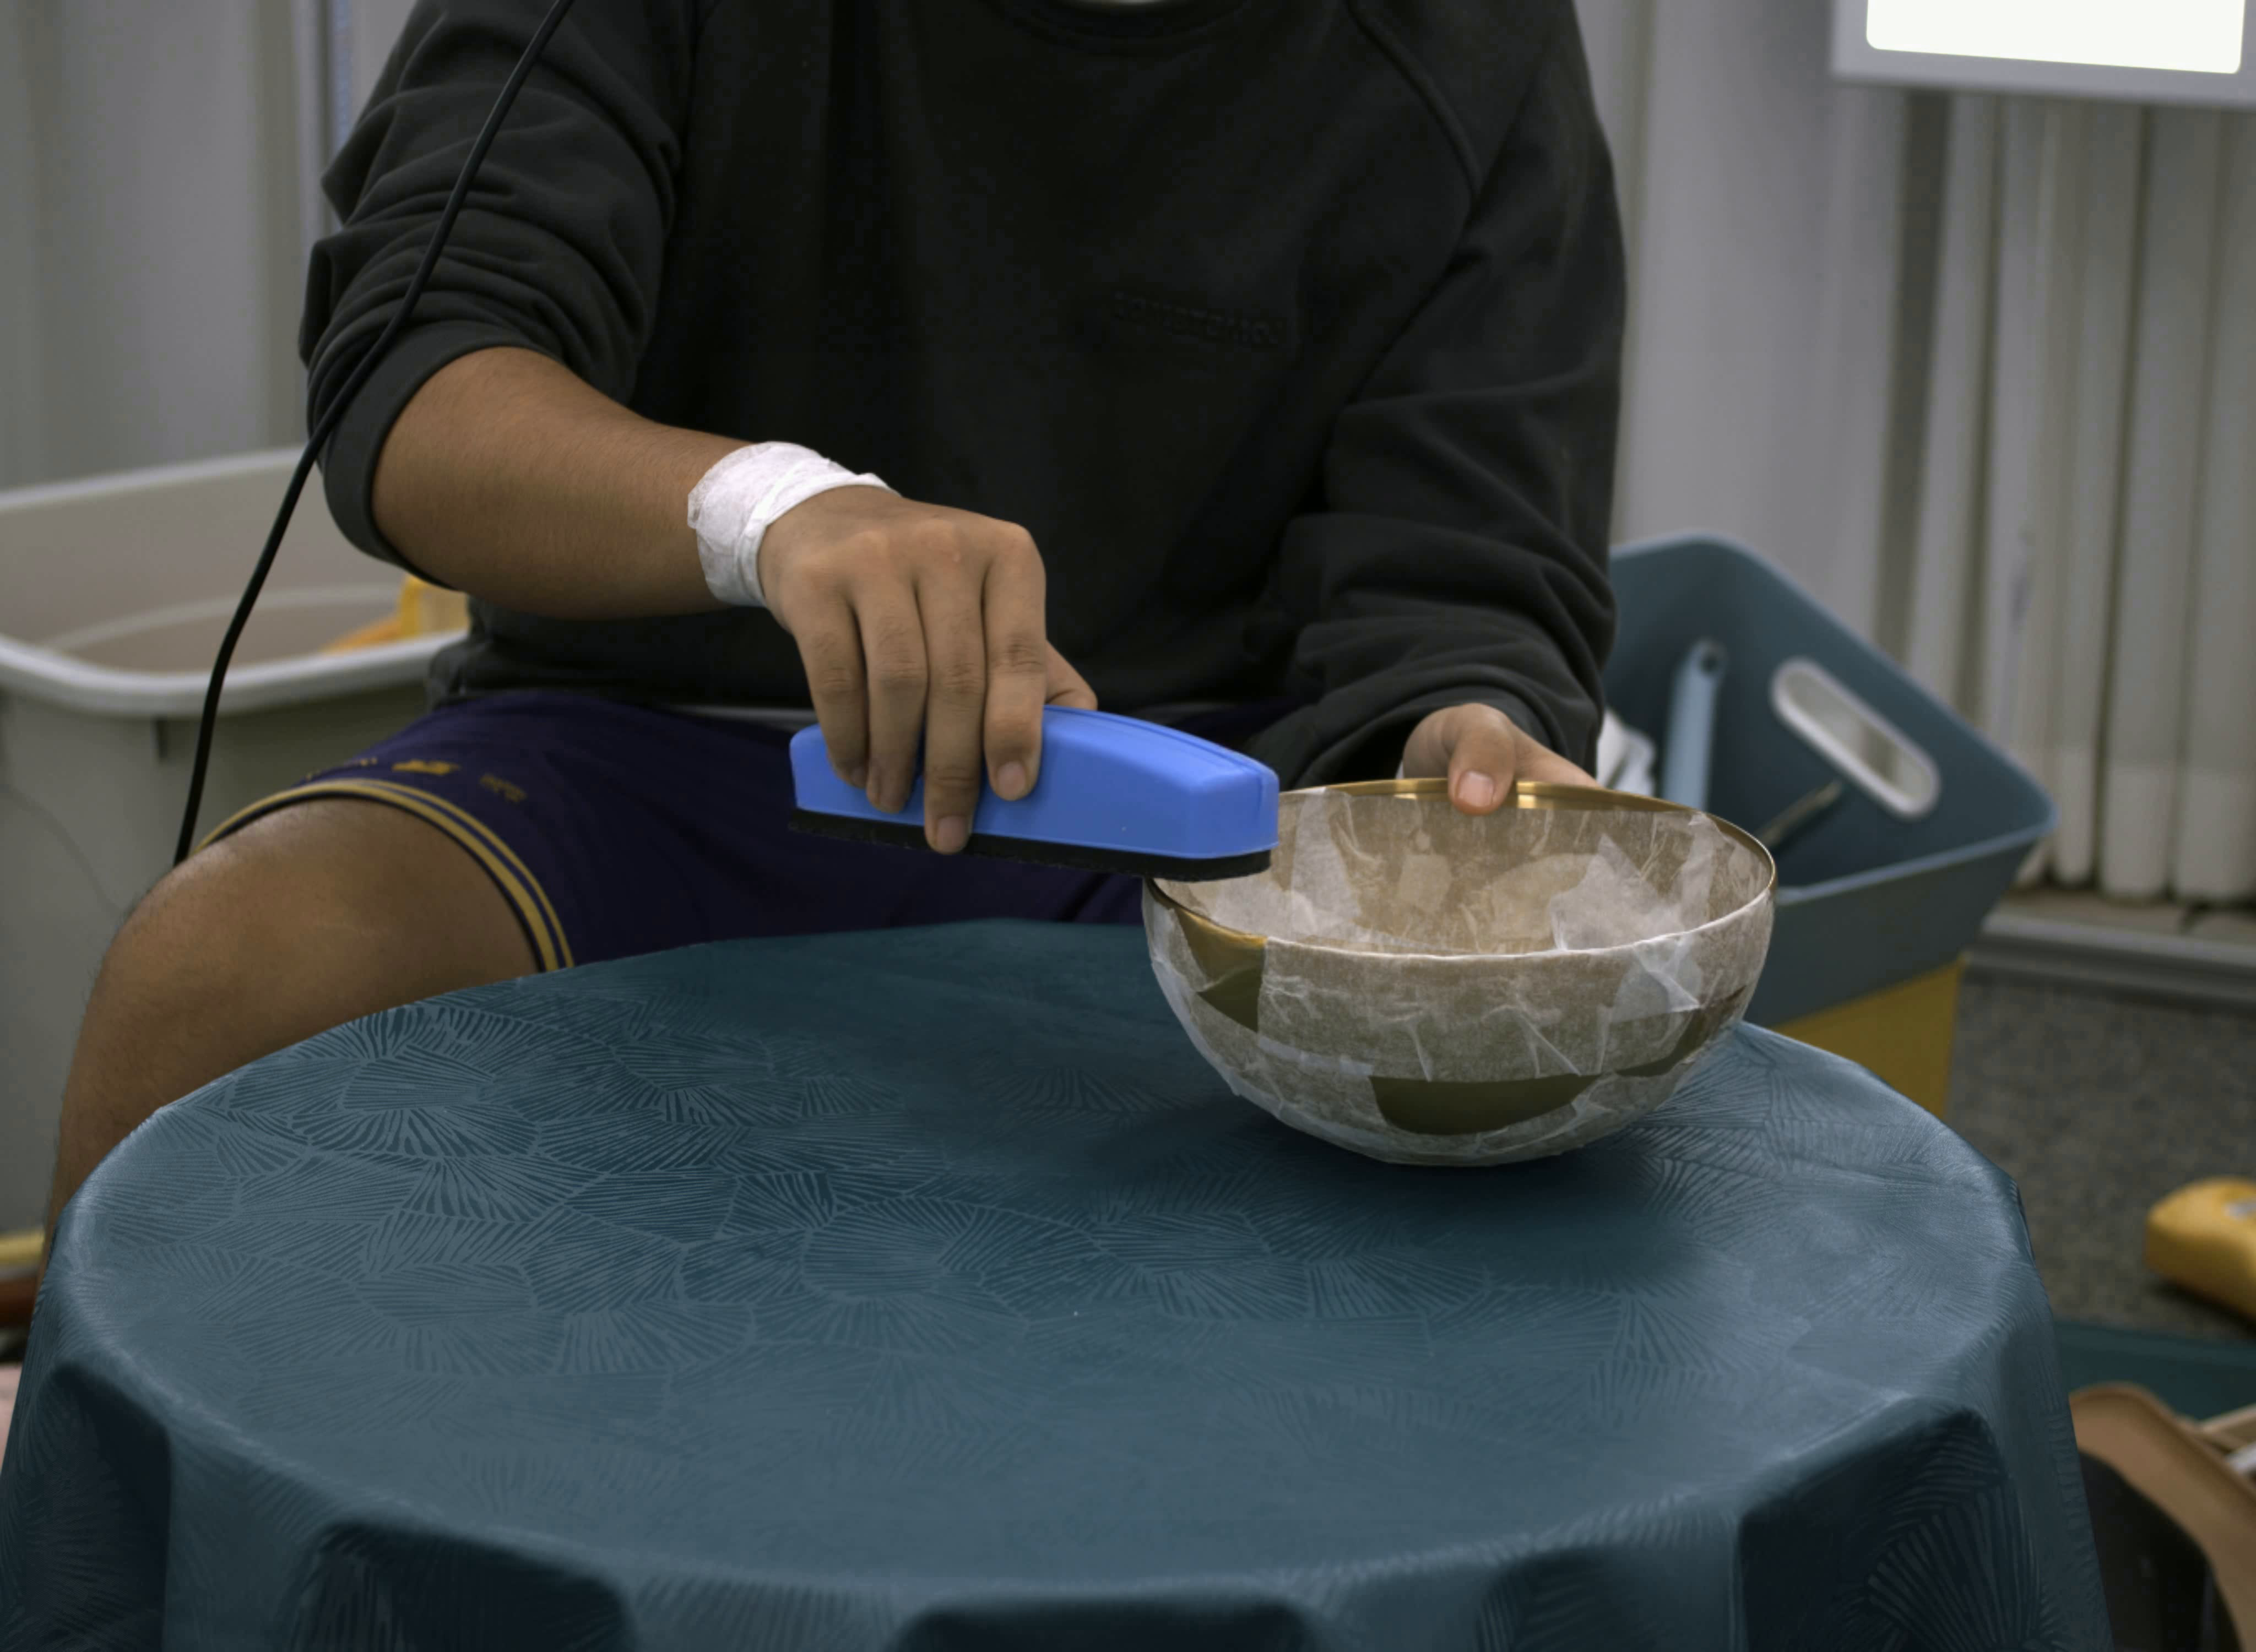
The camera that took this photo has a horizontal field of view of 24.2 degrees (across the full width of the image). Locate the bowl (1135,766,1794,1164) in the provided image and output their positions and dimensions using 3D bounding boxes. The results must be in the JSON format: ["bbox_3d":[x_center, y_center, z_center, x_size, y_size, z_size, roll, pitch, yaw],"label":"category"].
[{"bbox_3d":[0.105,0.052,1.668,0.214,0.095,0.213,-1,16,1],"label":"bowl"}]

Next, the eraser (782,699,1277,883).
[{"bbox_3d":[-0.031,-0.015,1.654,0.160,0.048,0.054,7,12,28],"label":"eraser"}]
